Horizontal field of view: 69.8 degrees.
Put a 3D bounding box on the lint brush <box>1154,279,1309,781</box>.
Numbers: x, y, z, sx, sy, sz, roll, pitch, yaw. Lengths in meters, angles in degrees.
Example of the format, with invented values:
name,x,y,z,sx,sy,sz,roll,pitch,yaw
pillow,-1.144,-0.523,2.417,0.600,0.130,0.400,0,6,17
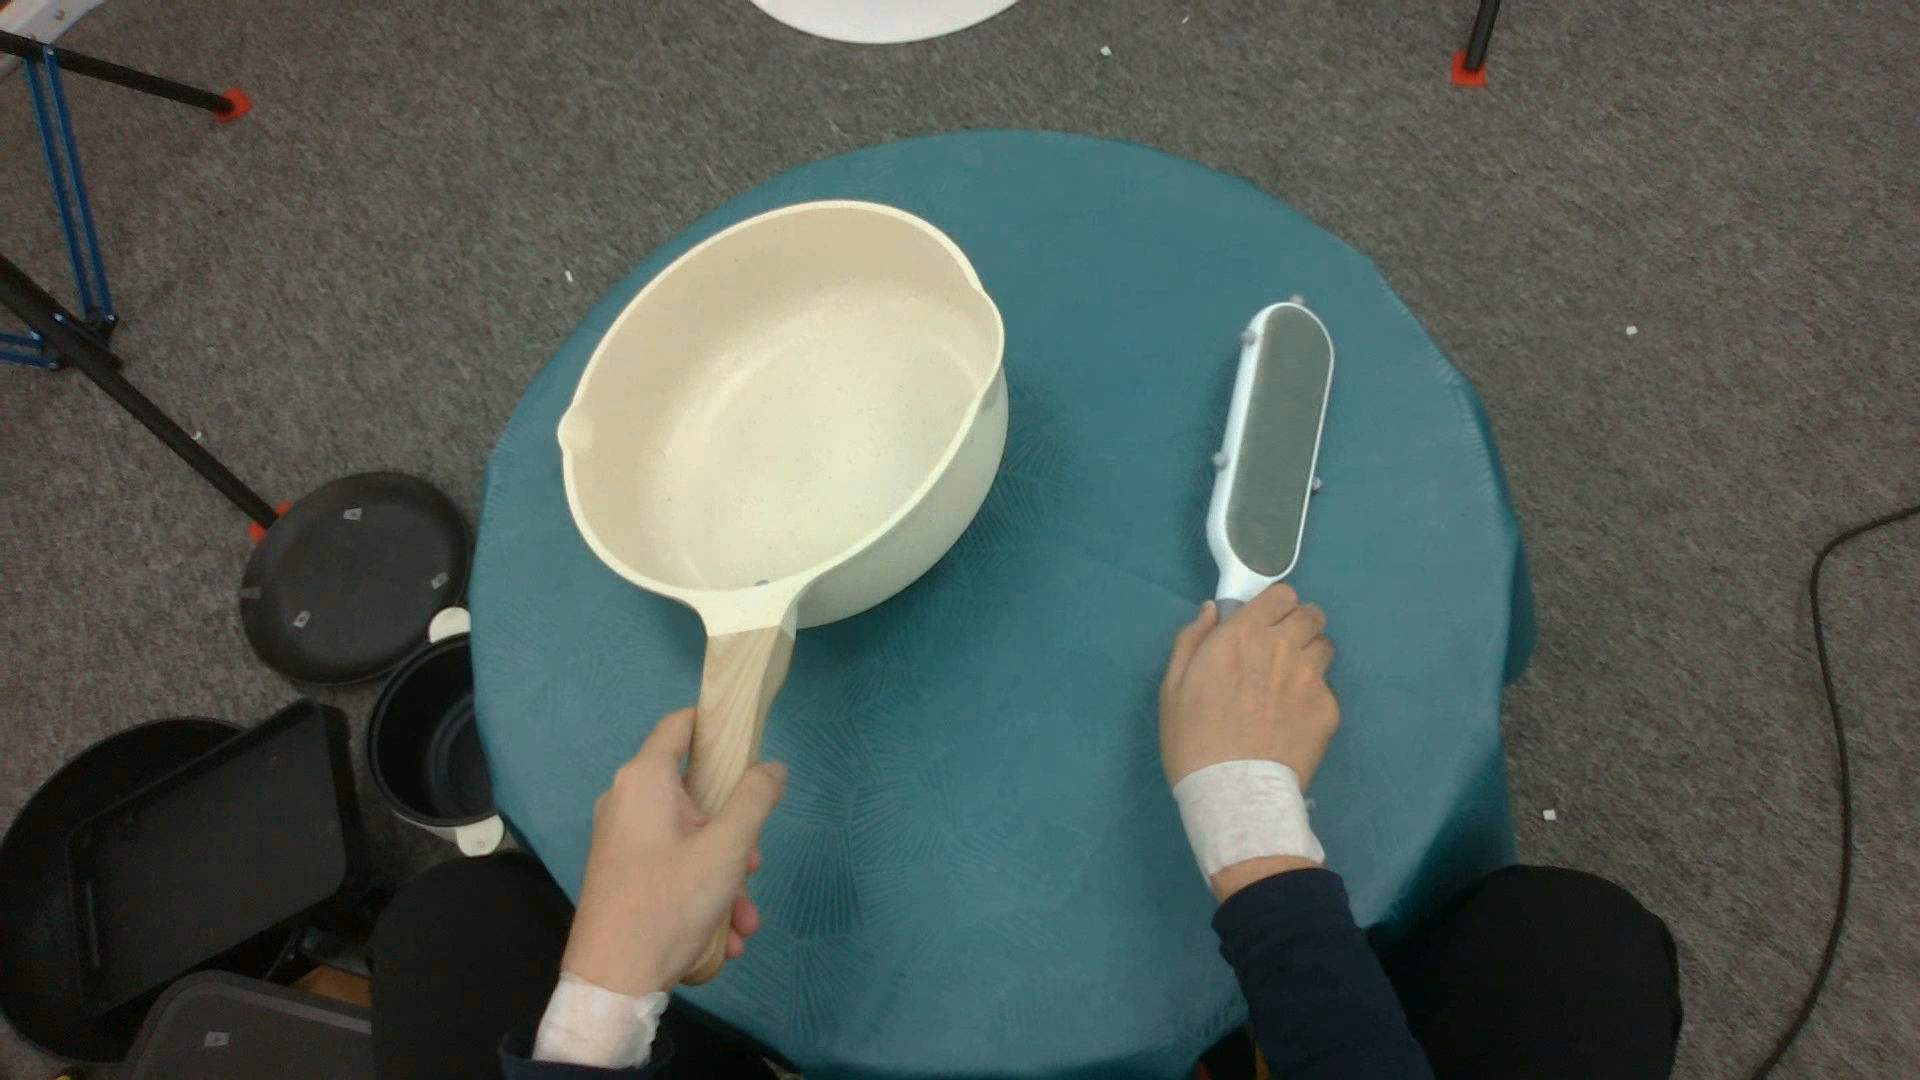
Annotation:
name,x,y,z,sx,sy,sz,roll,pitch,yaw
lint brush,0.147,-0.015,0.758,0.060,0.021,0.310,29,63,-27

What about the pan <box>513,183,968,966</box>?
name,x,y,z,sx,sy,sz,roll,pitch,yaw
pan,-0.112,0.004,0.713,0.263,0.102,0.436,-9,60,14
